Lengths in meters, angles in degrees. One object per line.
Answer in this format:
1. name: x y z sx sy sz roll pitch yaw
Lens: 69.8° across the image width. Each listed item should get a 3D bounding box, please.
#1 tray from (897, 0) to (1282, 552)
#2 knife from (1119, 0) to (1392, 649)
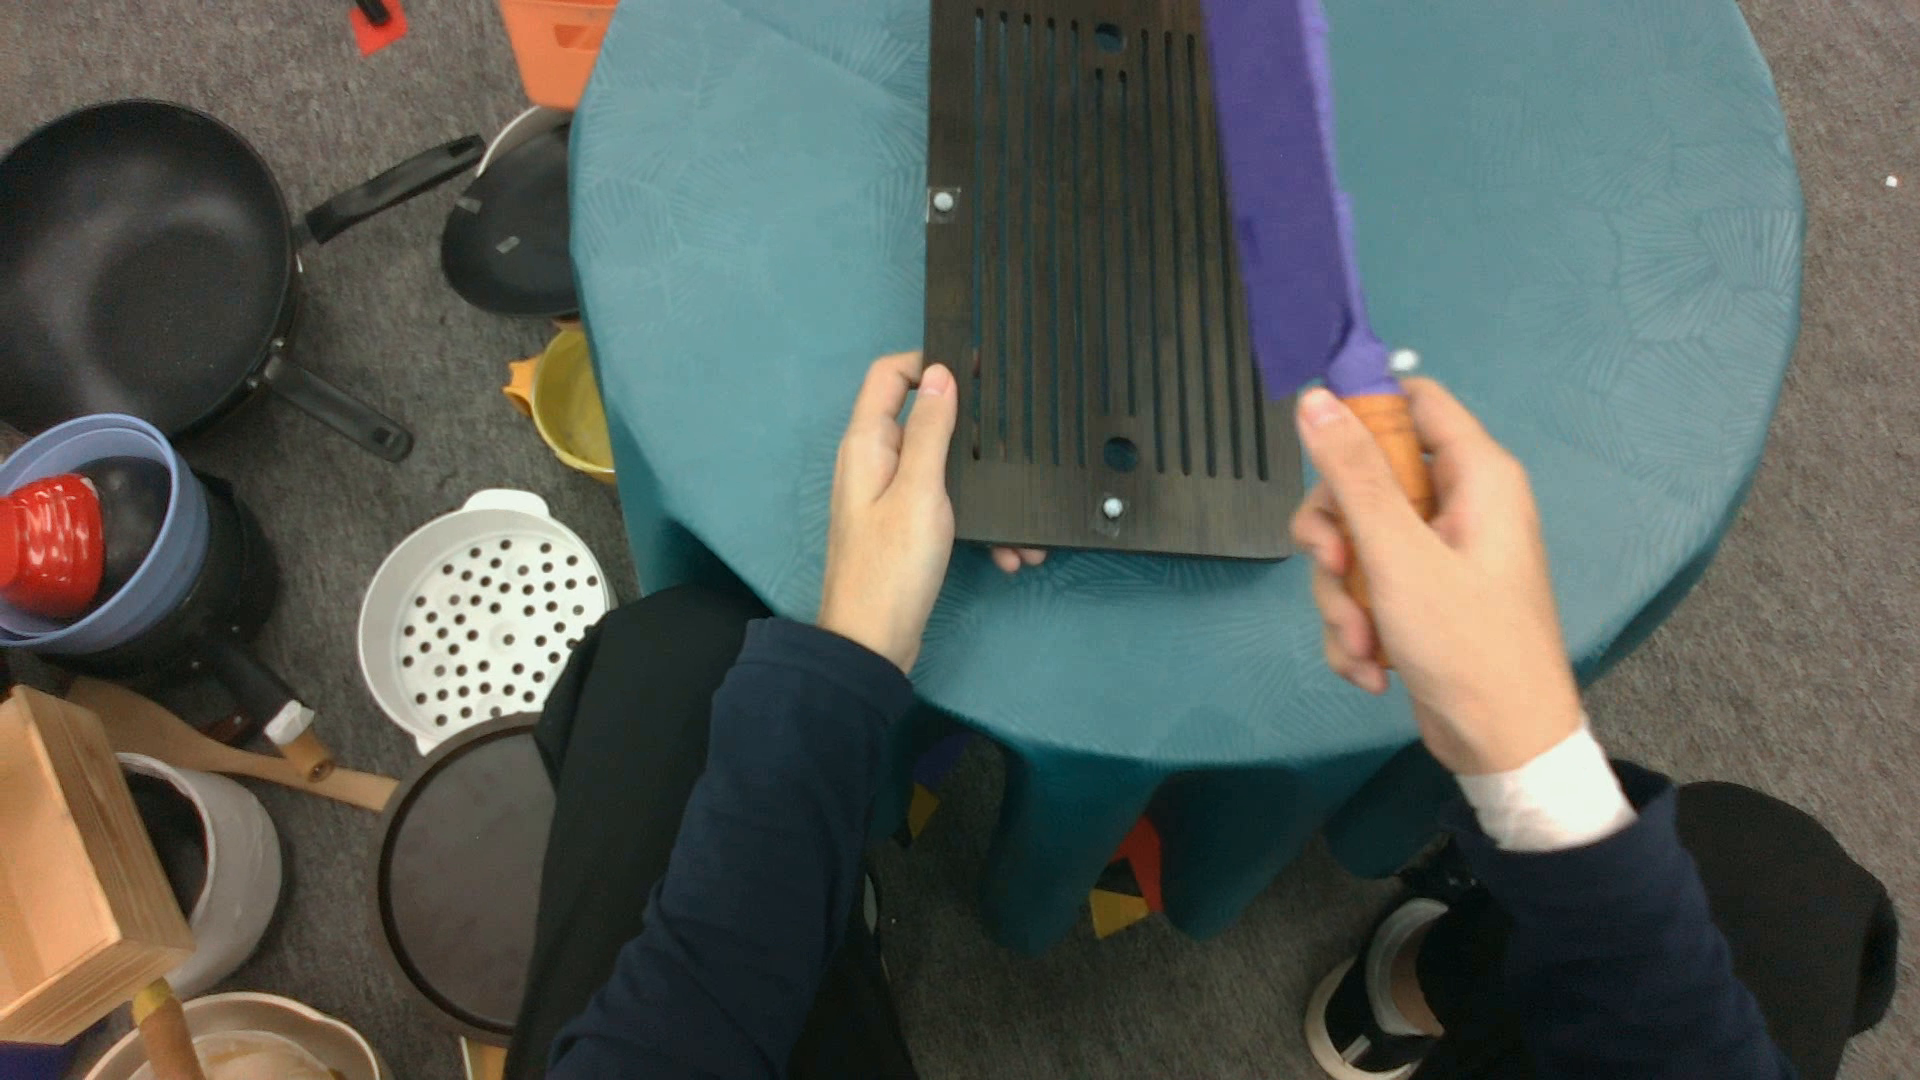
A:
1. tray: 0.057 -0.141 0.641 0.170 0.018 0.307 3 70 -9
2. knife: 0.099 -0.115 0.508 0.032 0.103 0.315 -8 82 -11
